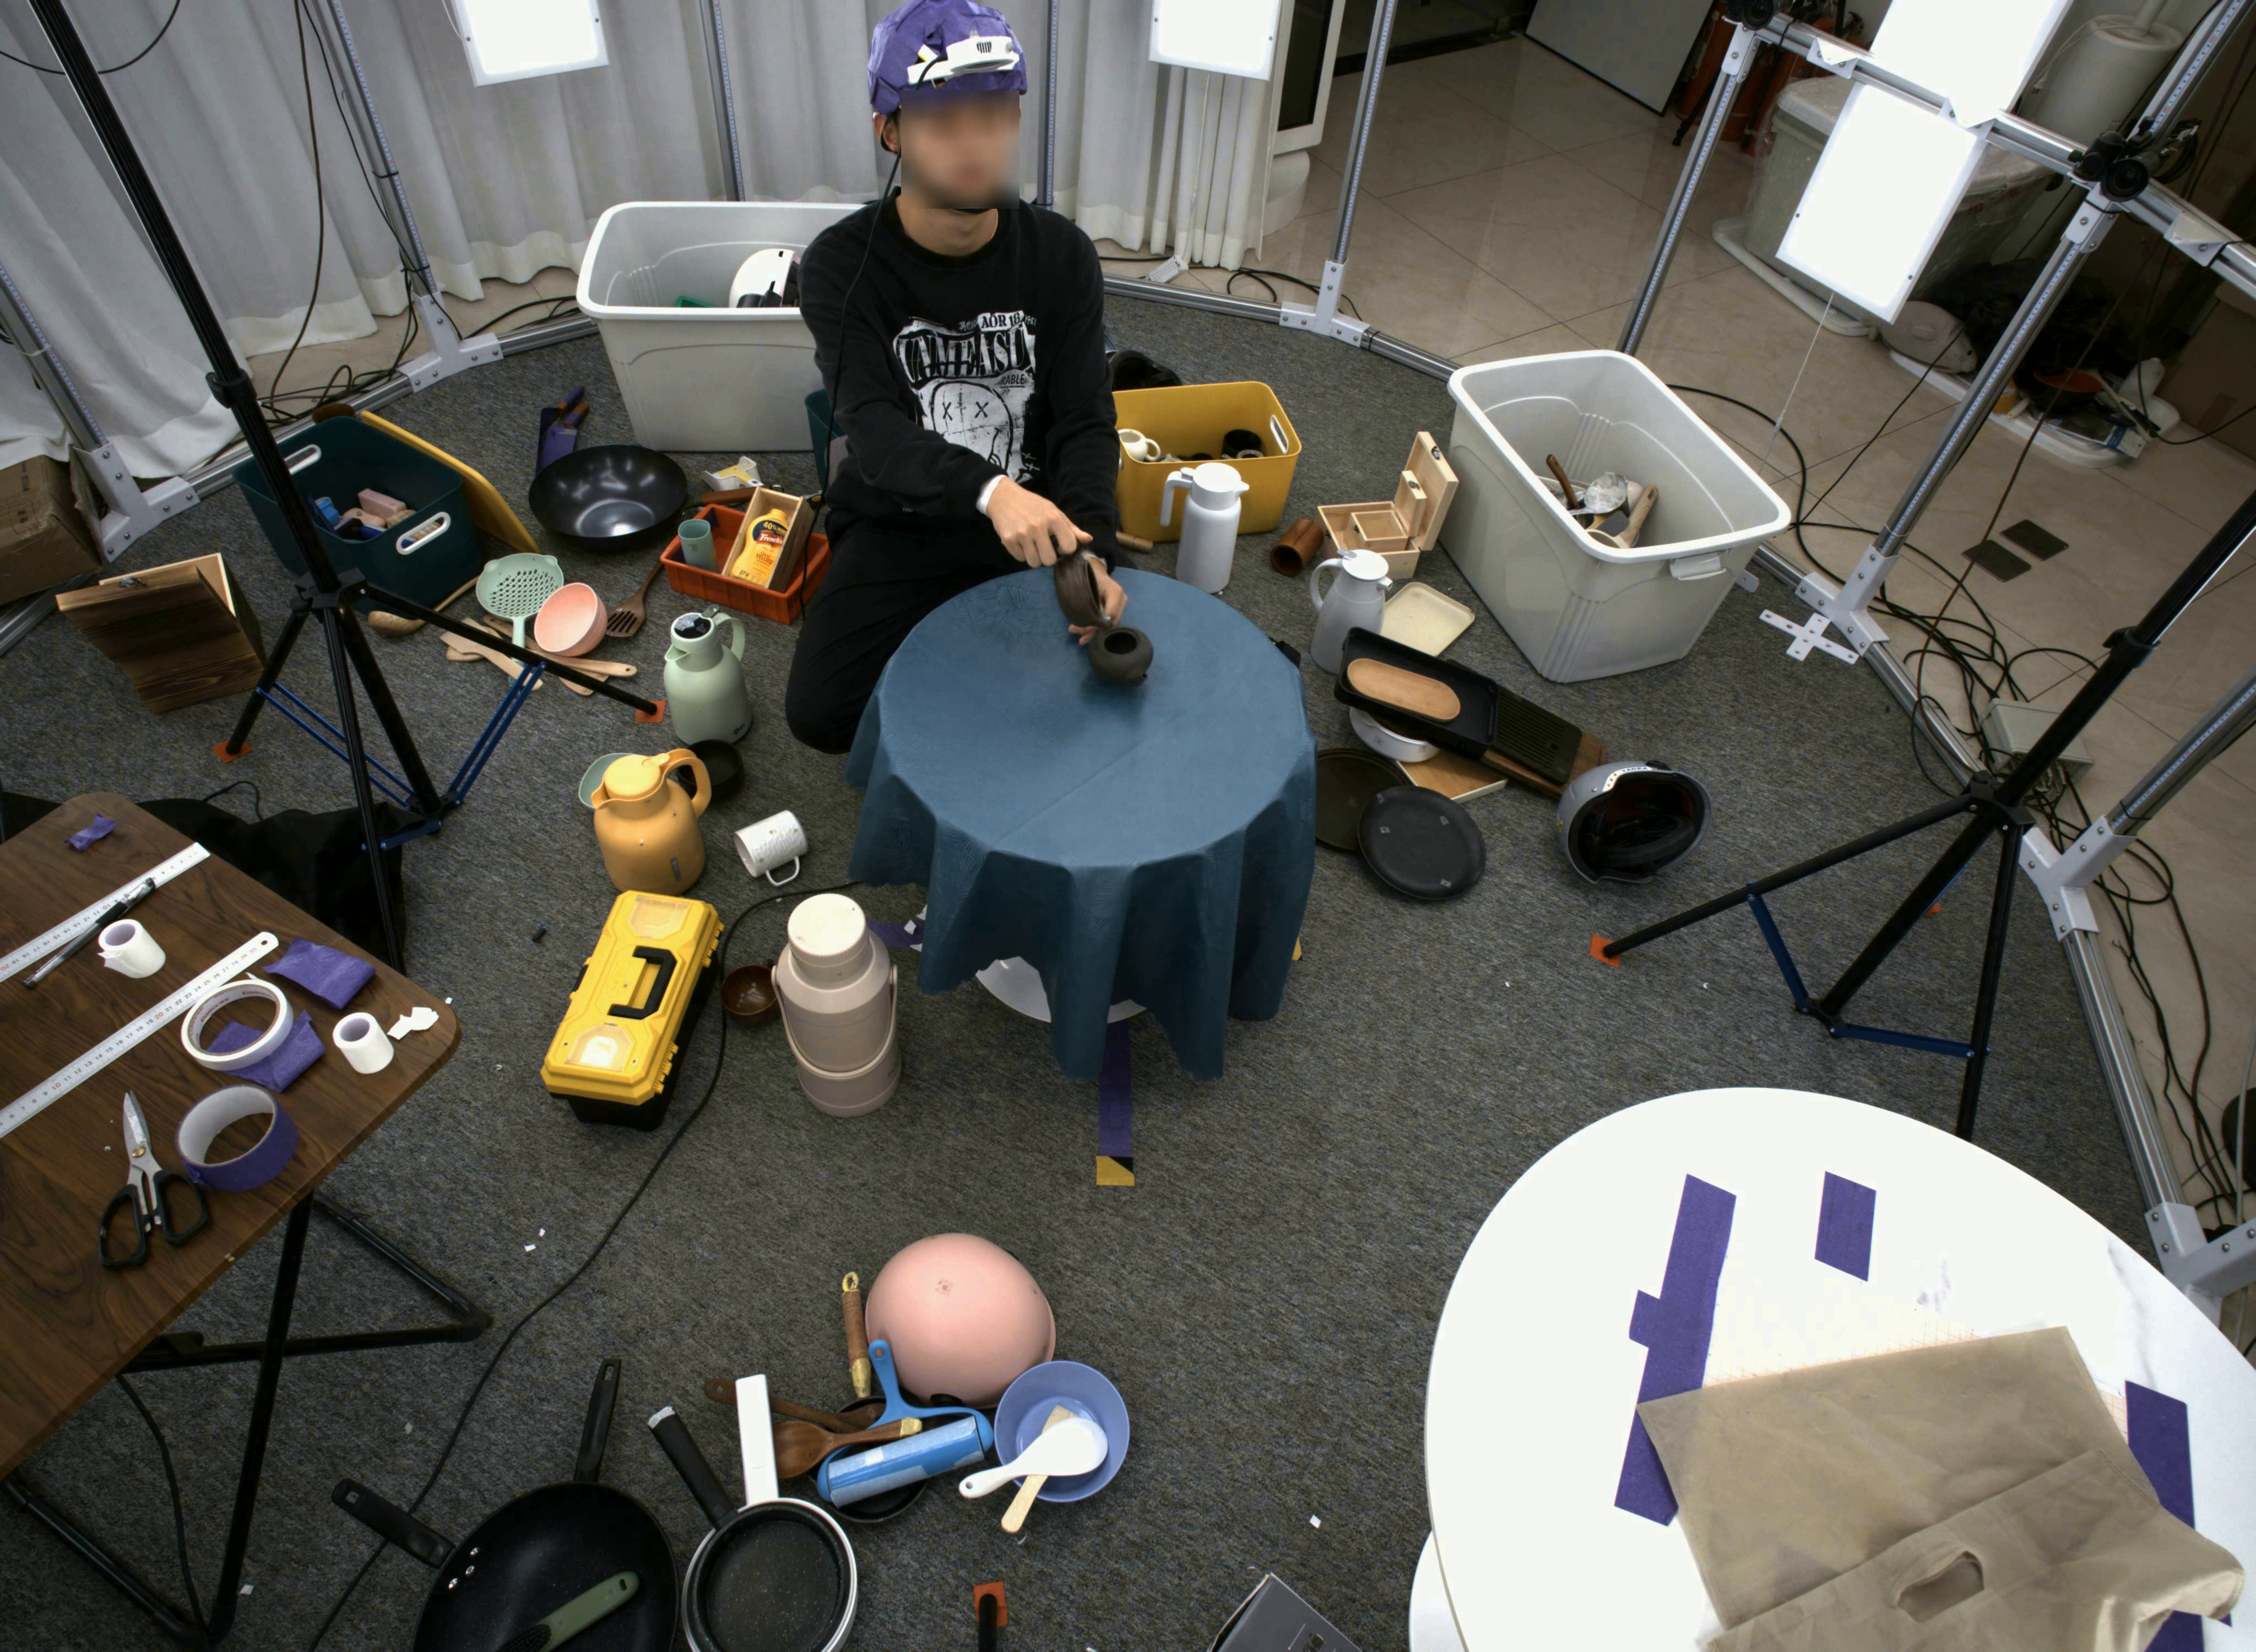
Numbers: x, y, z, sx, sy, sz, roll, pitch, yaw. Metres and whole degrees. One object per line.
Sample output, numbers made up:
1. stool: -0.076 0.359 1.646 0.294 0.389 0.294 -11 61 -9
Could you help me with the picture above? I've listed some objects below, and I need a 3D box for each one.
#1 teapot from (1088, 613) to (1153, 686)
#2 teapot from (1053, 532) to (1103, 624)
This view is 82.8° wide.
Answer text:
1. teapot: -0.012 -0.247 1.830 0.092 0.063 0.157 -18 53 -19
2. teapot: -0.070 -0.330 1.737 0.054 0.149 0.105 -8 49 3
